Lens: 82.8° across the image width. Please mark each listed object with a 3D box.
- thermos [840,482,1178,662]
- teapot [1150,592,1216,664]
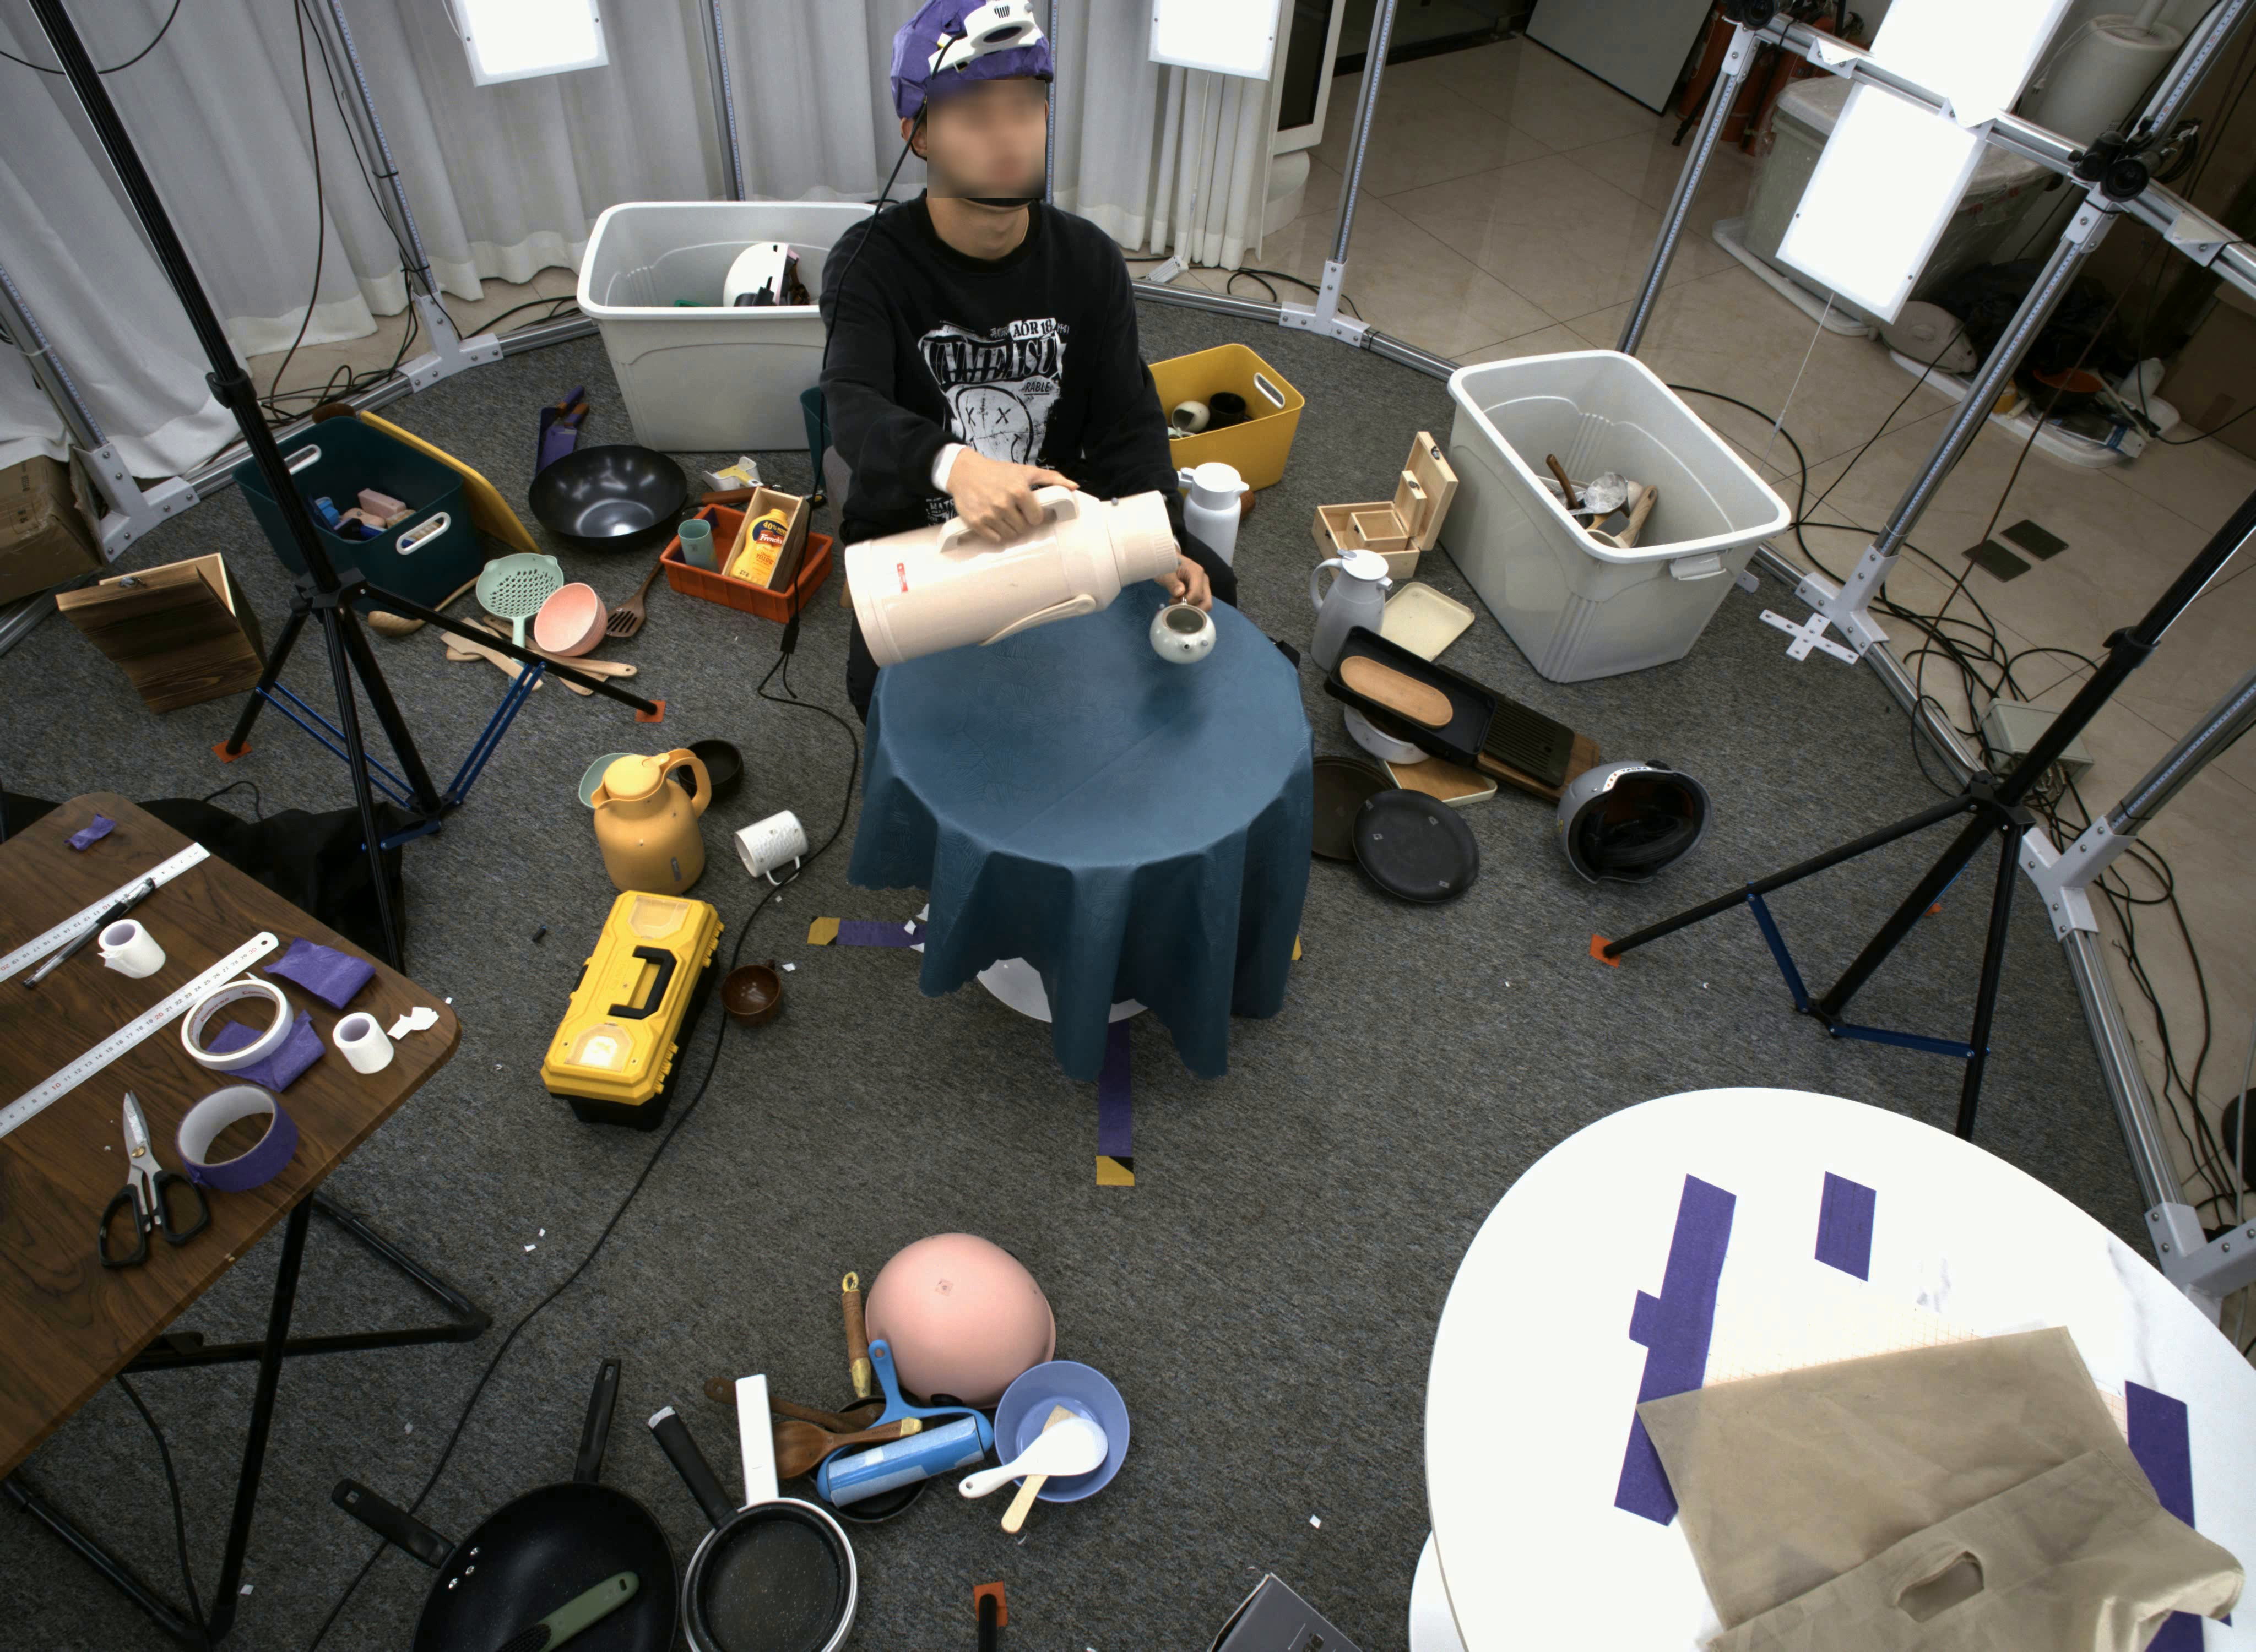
[{"bbox_3d":[-0.147,-0.336,1.619,0.406,0.202,0.179,-12,61,1],"label":"thermos"},{"bbox_3d":[0.076,-0.274,1.792,0.092,0.058,0.131,-2,50,-2],"label":"teapot"}]
